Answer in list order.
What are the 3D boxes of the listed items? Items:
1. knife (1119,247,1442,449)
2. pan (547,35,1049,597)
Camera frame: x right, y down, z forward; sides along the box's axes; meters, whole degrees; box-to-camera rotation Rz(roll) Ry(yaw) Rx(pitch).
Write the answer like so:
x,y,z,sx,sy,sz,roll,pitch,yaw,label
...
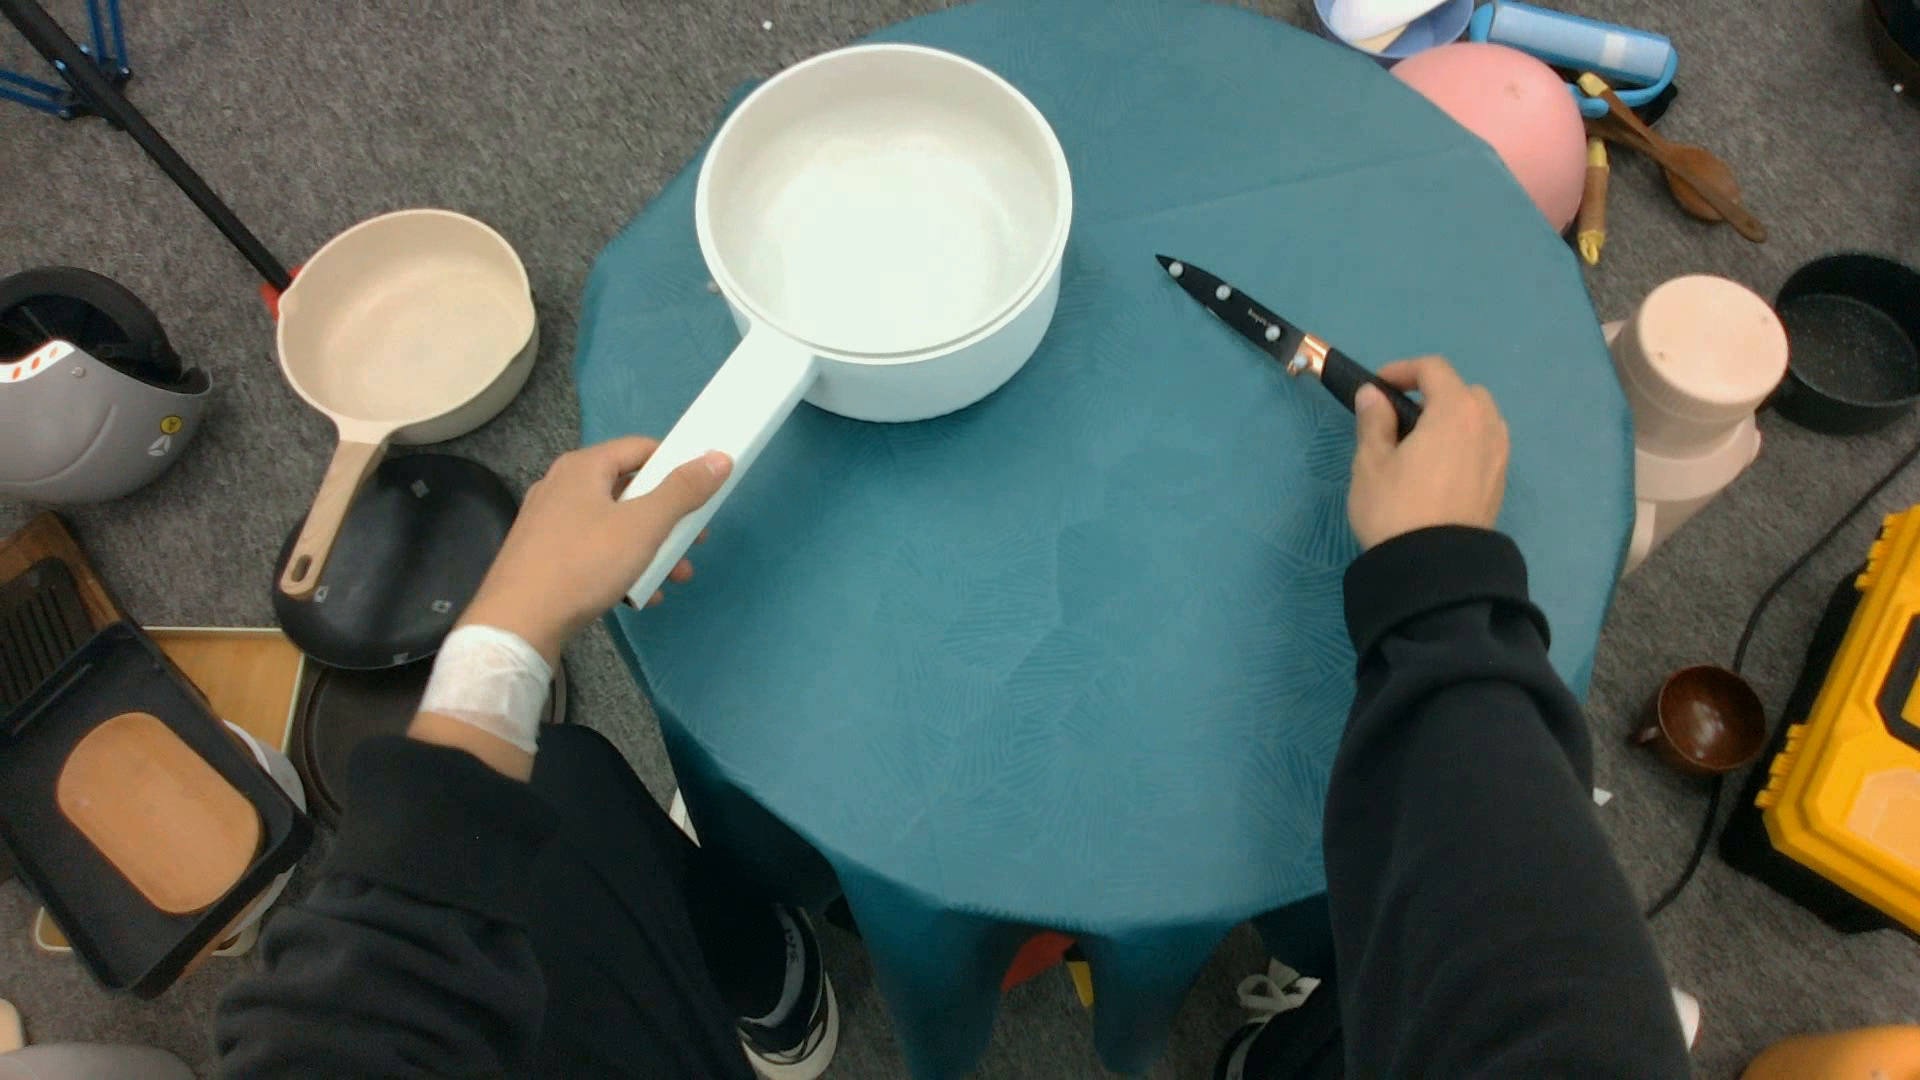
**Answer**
x,y,z,sx,sy,sz,roll,pitch,yaw,label
0.177,-0.117,0.785,0.225,0.026,0.017,40,38,26,knife
-0.092,-0.112,0.757,0.201,0.102,0.356,29,72,9,pan
